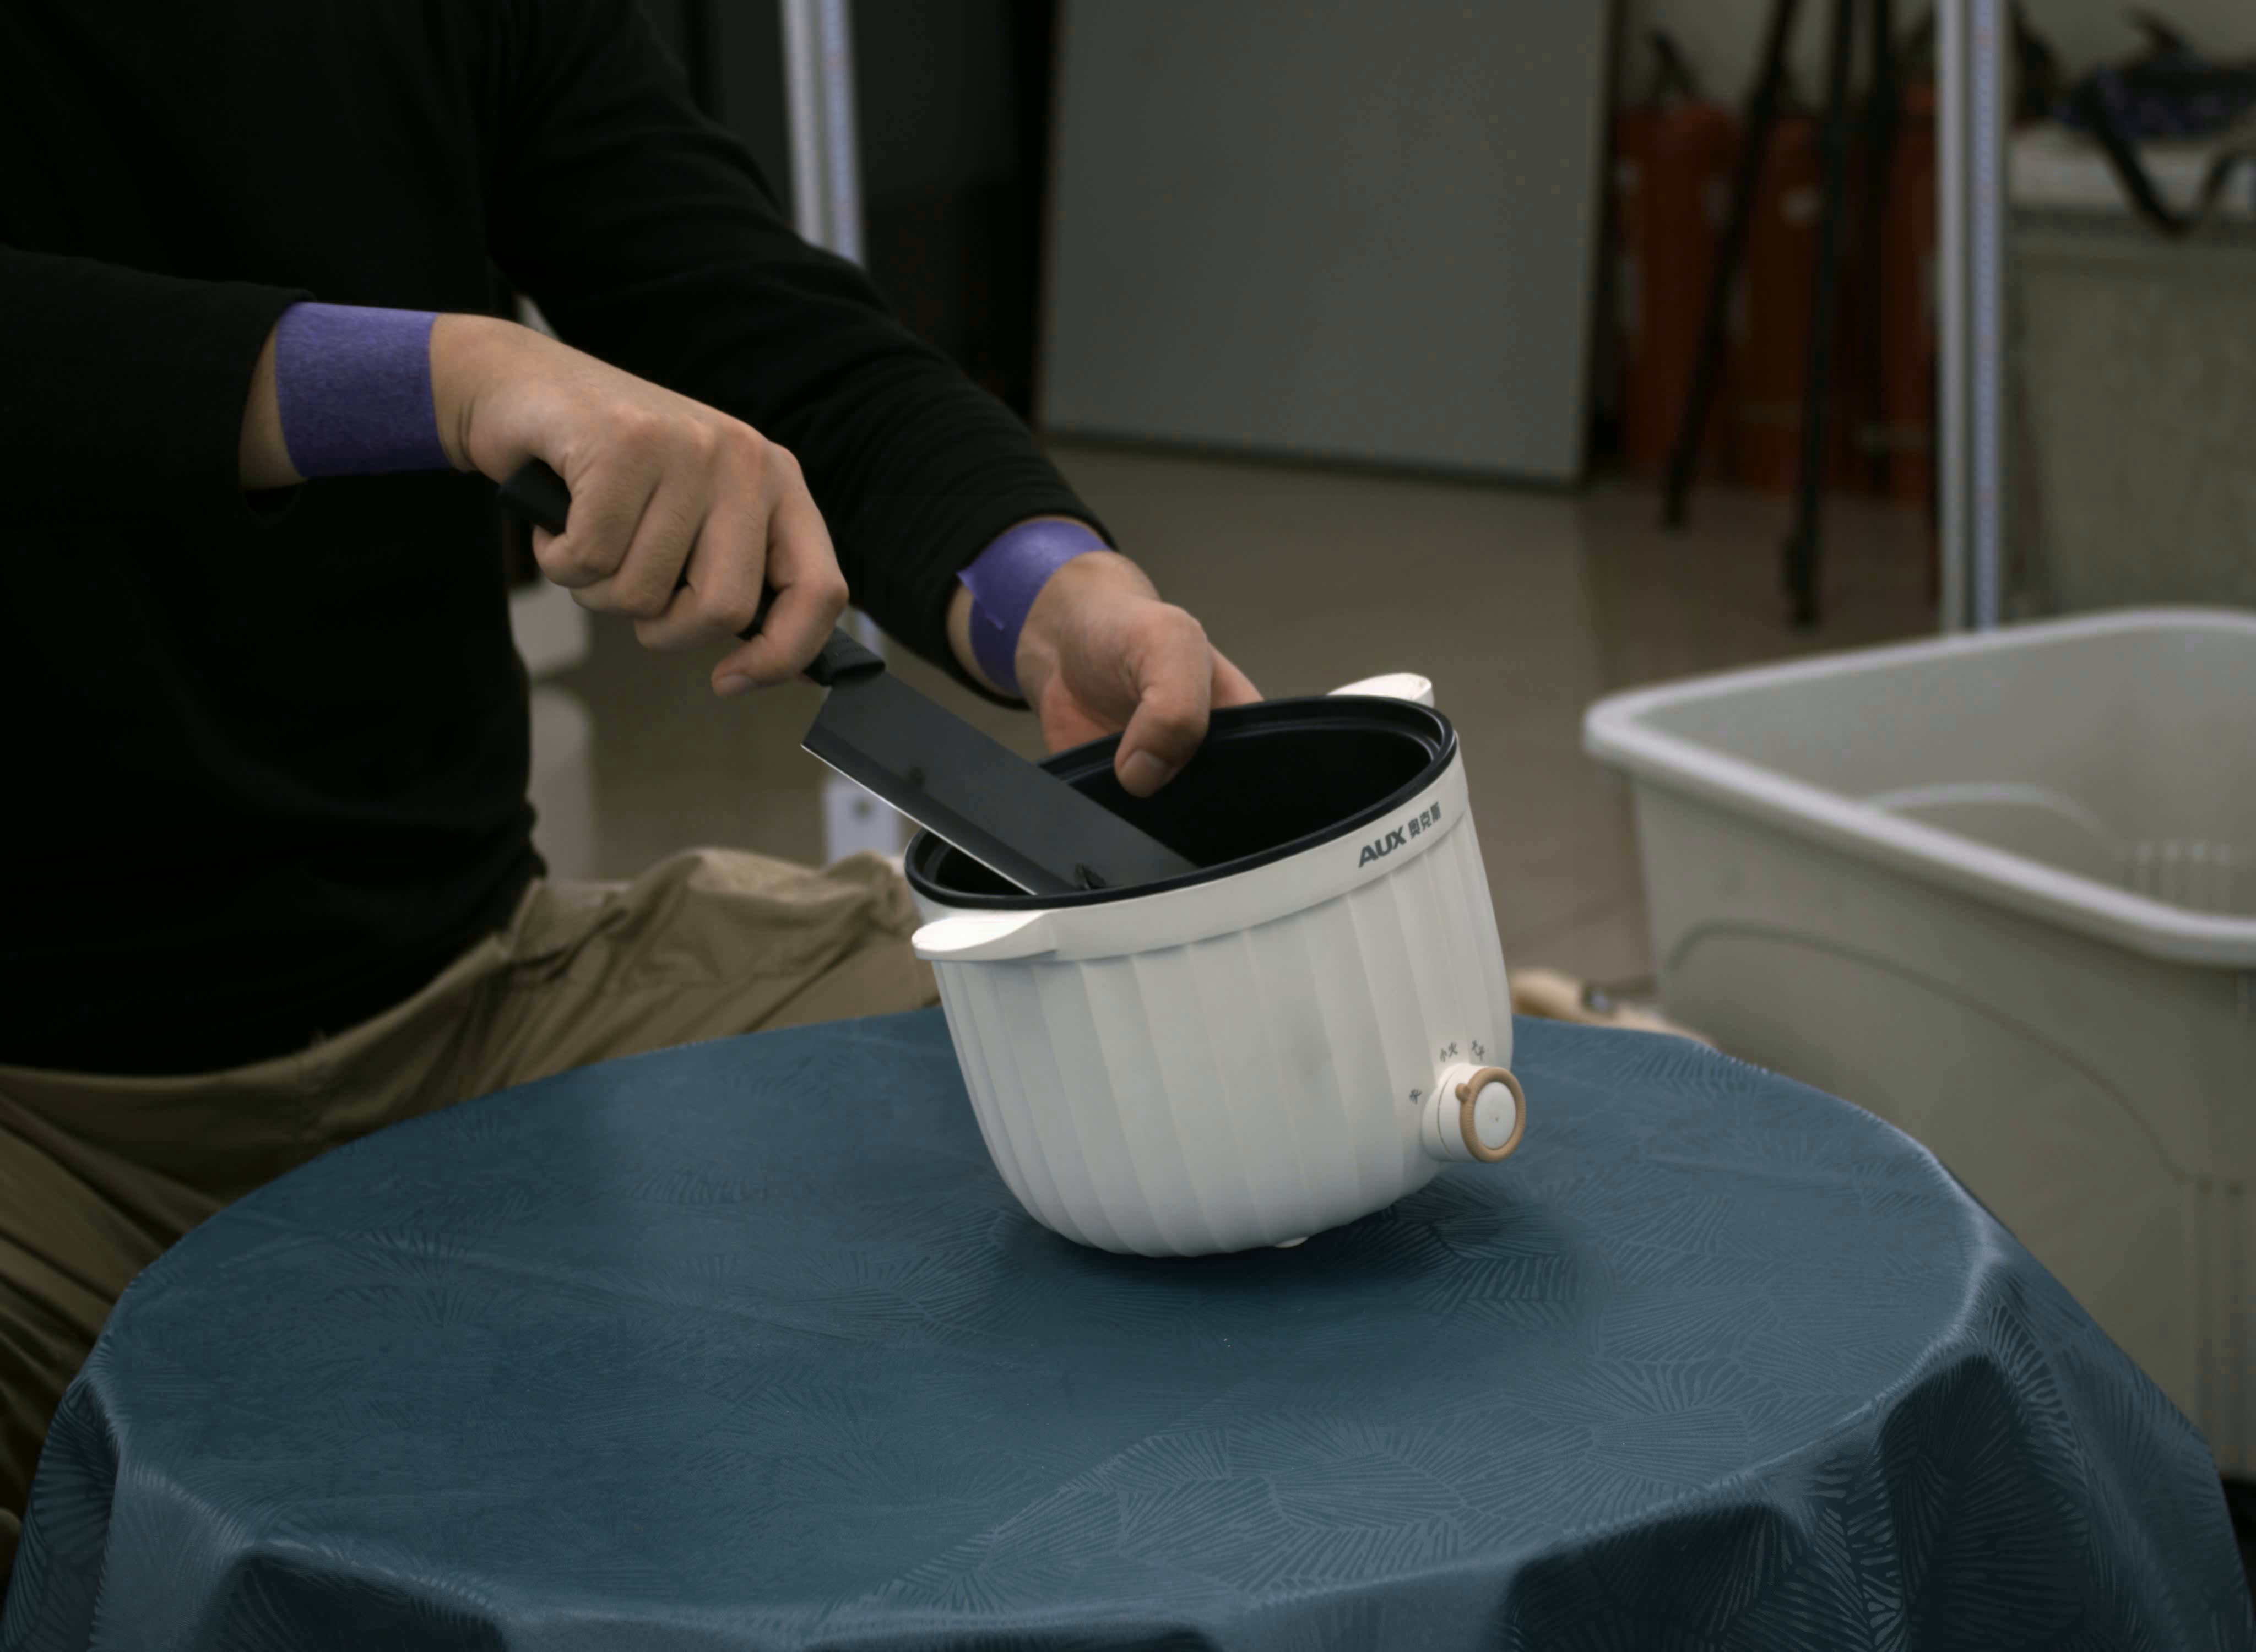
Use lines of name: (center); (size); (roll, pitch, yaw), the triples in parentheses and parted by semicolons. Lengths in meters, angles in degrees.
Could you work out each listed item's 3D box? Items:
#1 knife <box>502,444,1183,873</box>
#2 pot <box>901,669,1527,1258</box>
knife: (-0.066, -0.029, 1.695); (0.301, 0.021, 0.080); (34, 30, 1)
pot: (0.036, 0.050, 1.718); (0.192, 0.143, 0.236); (-4, 19, 44)
